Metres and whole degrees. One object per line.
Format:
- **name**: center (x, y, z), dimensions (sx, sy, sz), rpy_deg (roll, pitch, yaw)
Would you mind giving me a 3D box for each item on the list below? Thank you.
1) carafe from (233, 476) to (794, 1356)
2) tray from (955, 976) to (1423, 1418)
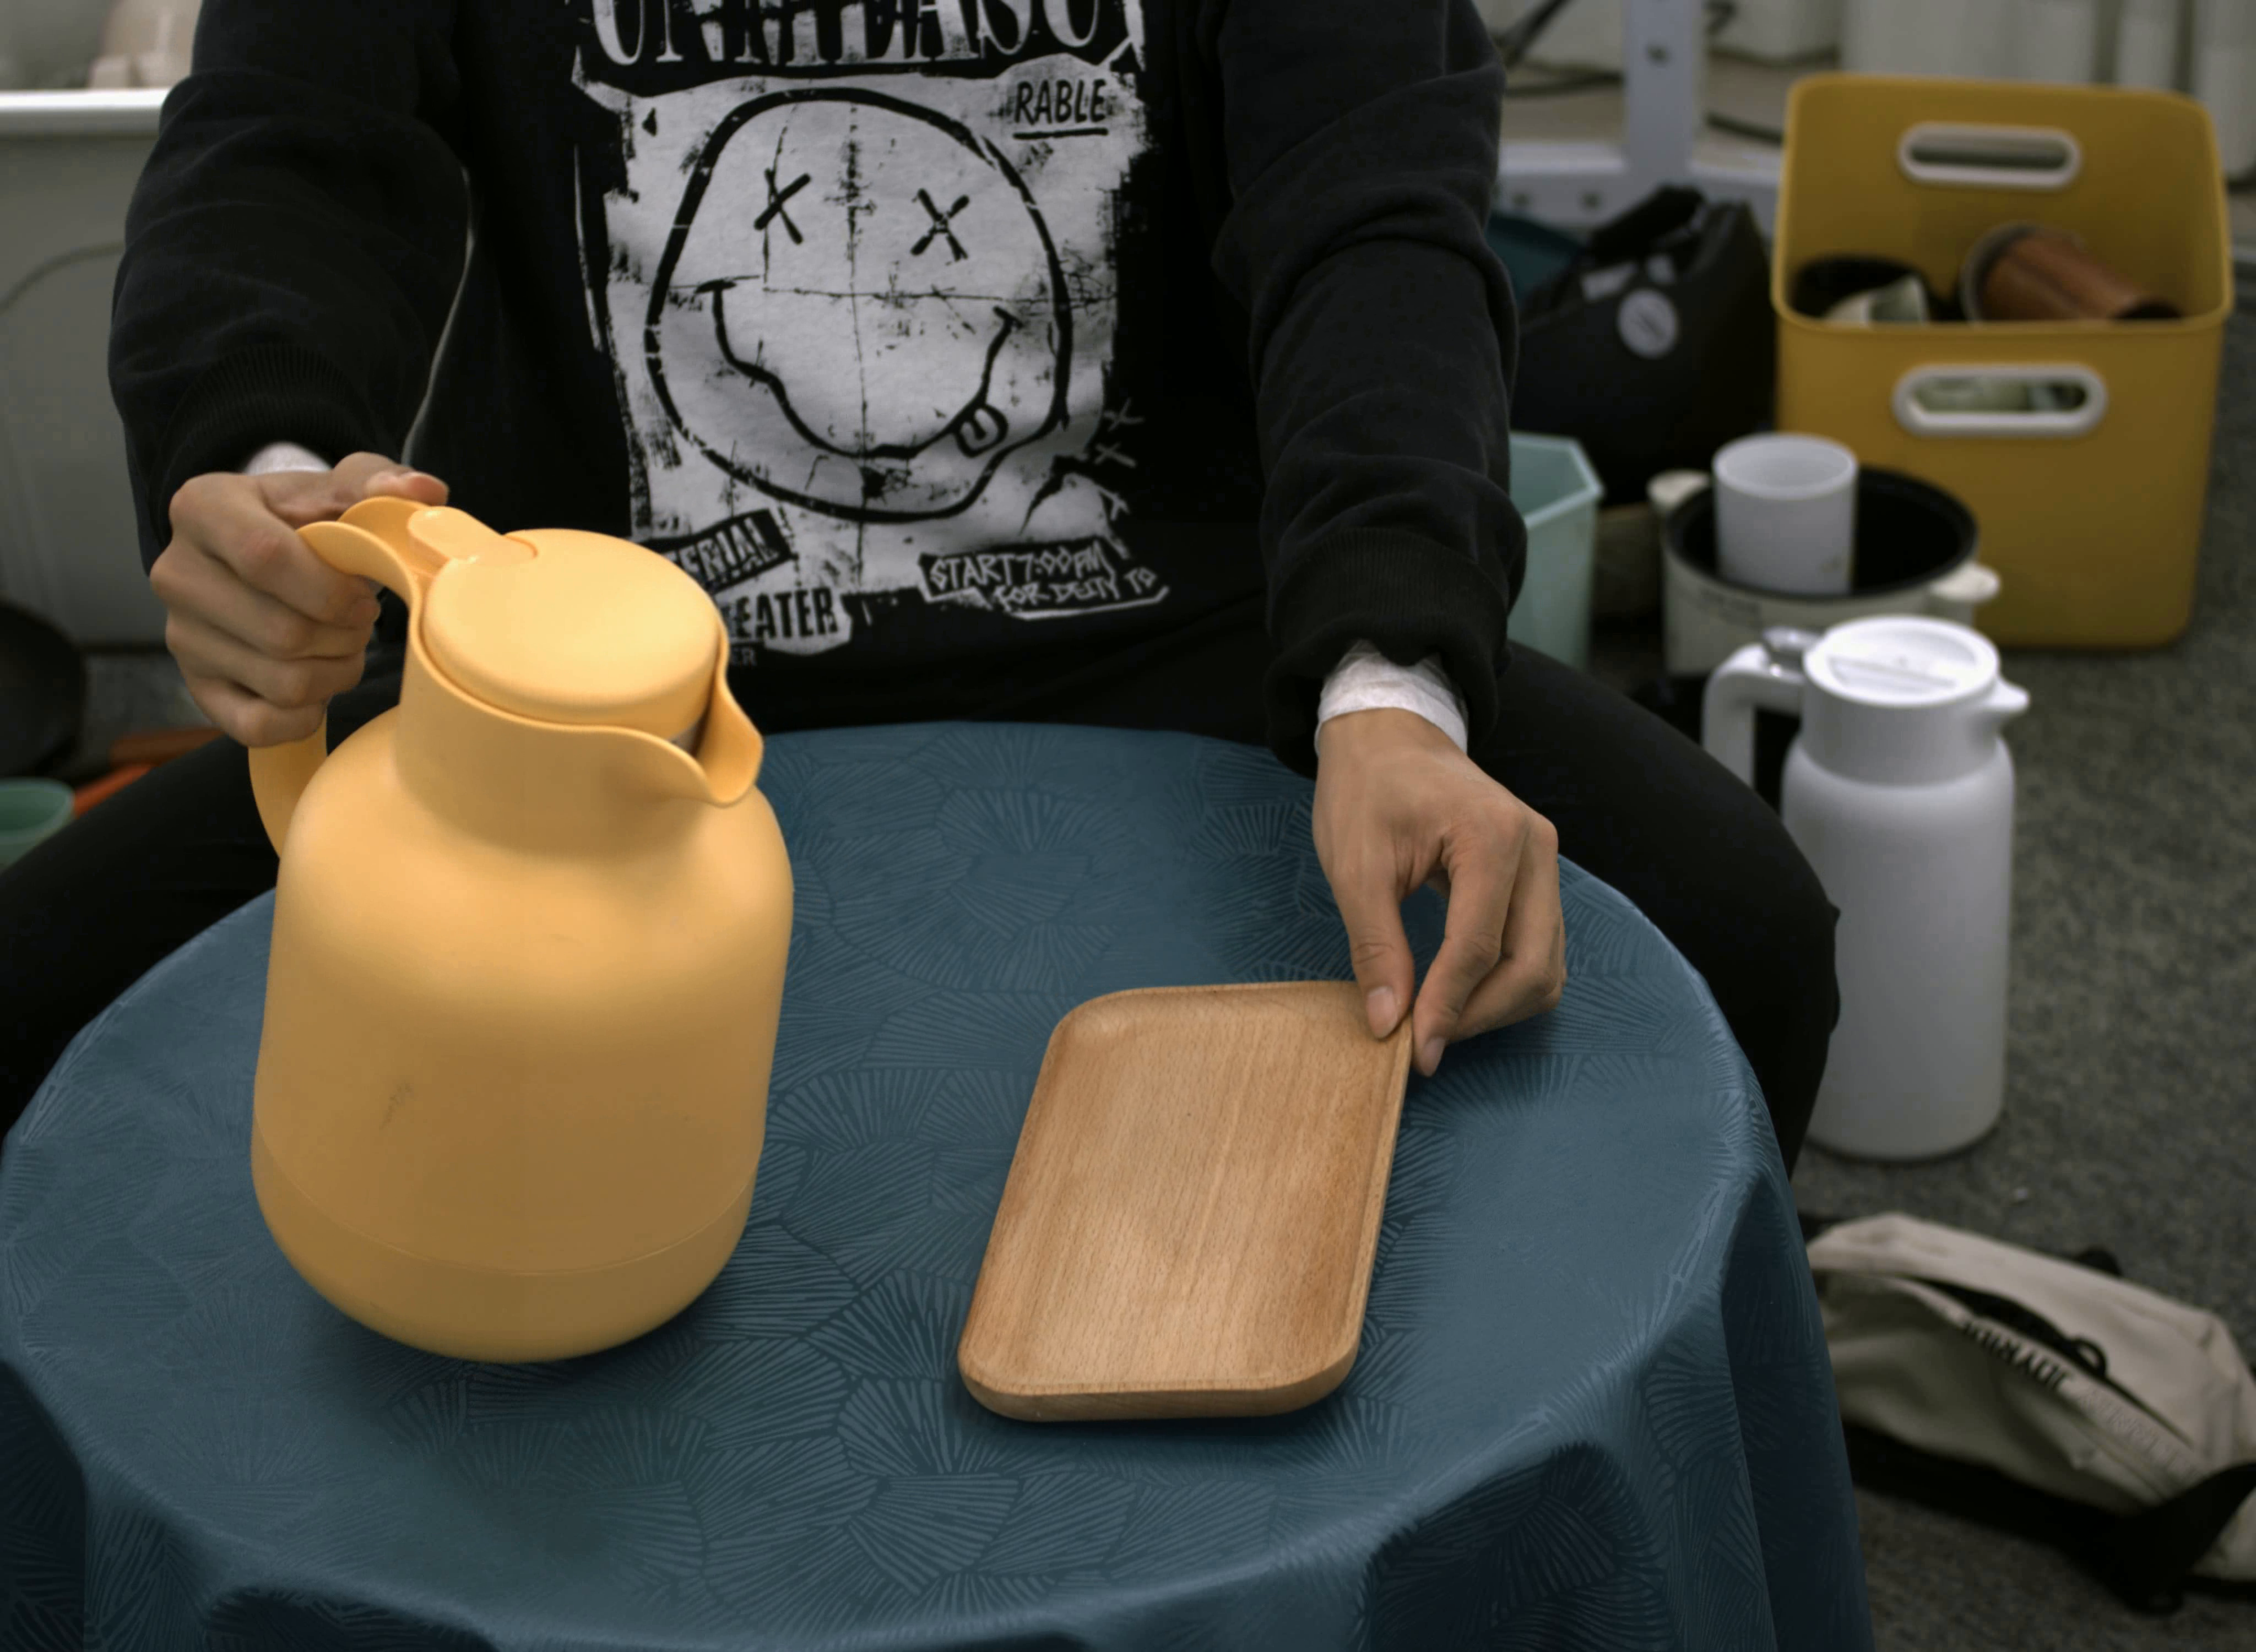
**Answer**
- **carafe**: center (-0.199, 0.019, 1.762), dimensions (0.203, 0.256, 0.165), rpy_deg (36, 39, 27)
- **tray**: center (0.023, 0.119, 1.832), dimensions (0.129, 0.022, 0.255), rpy_deg (-1, 27, 10)
